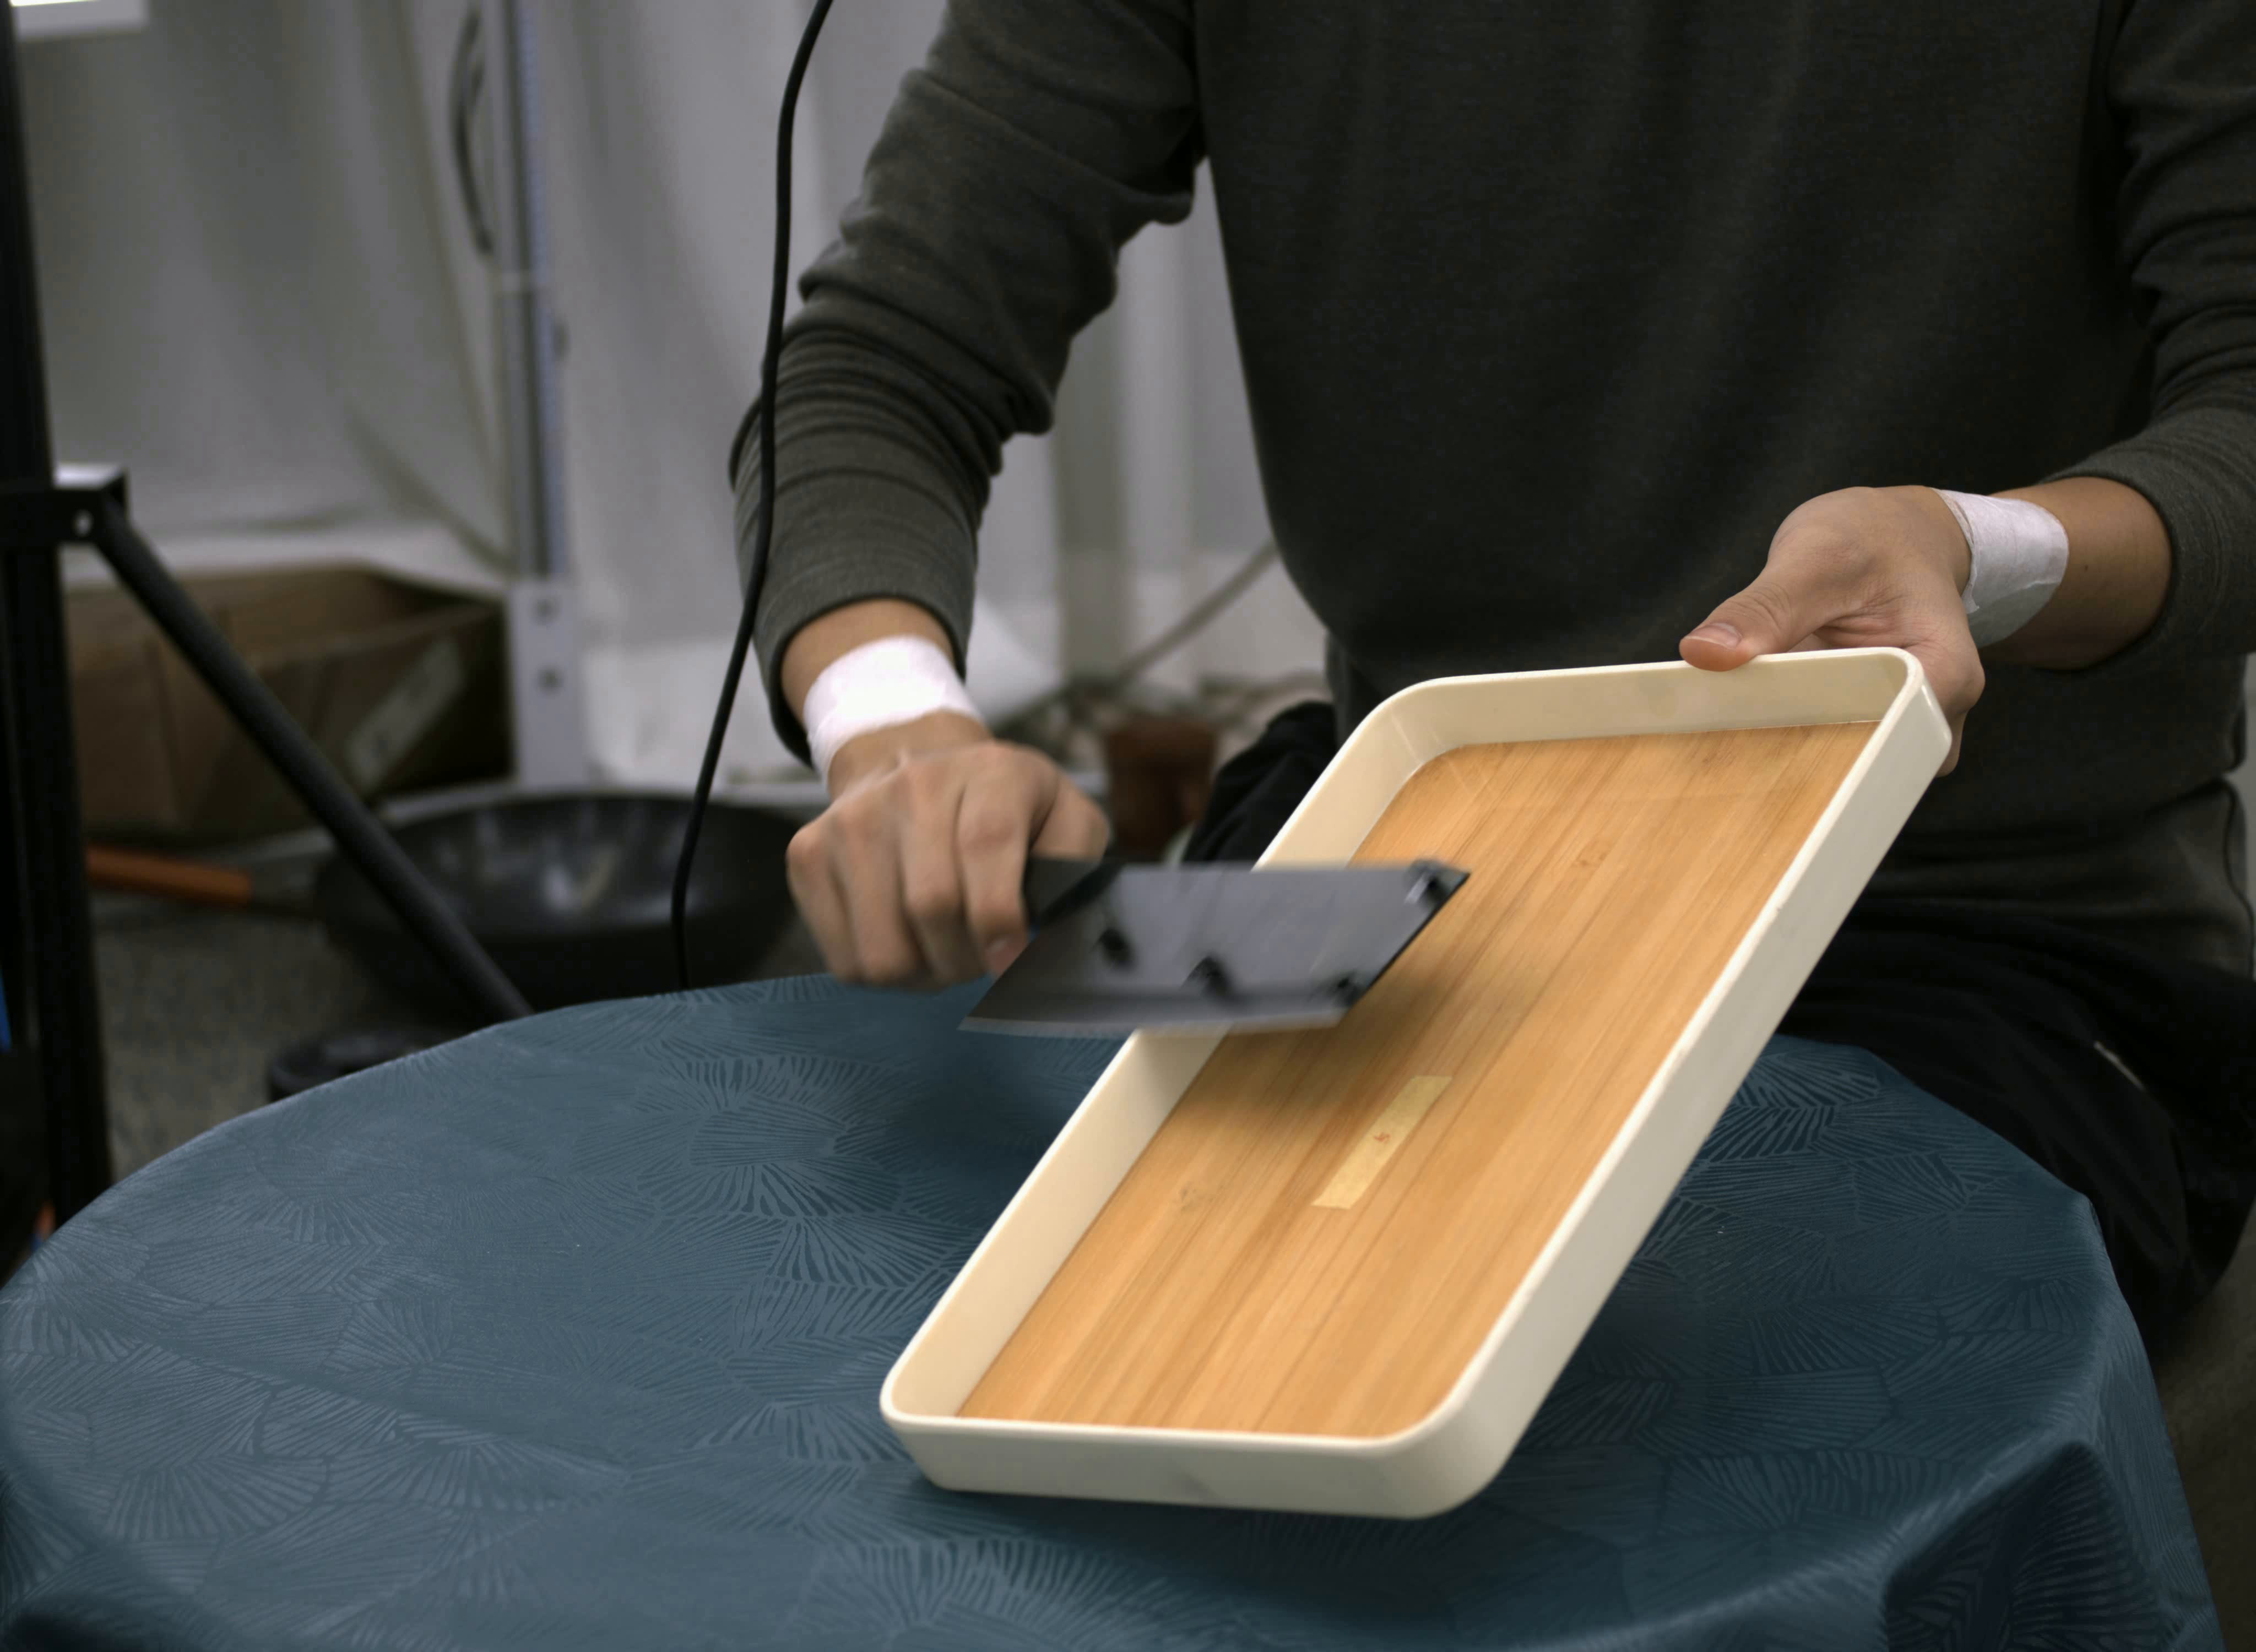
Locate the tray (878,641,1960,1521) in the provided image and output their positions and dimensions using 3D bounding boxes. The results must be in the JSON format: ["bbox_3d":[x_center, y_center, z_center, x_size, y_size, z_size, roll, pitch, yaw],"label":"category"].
[{"bbox_3d":[0.079,0.061,1.375,0.195,0.027,0.298,-3,39,43],"label":"tray"}]

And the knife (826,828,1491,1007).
[{"bbox_3d":[-0.004,0.025,1.506,0.080,0.020,0.308,-46,22,-22],"label":"knife"}]
